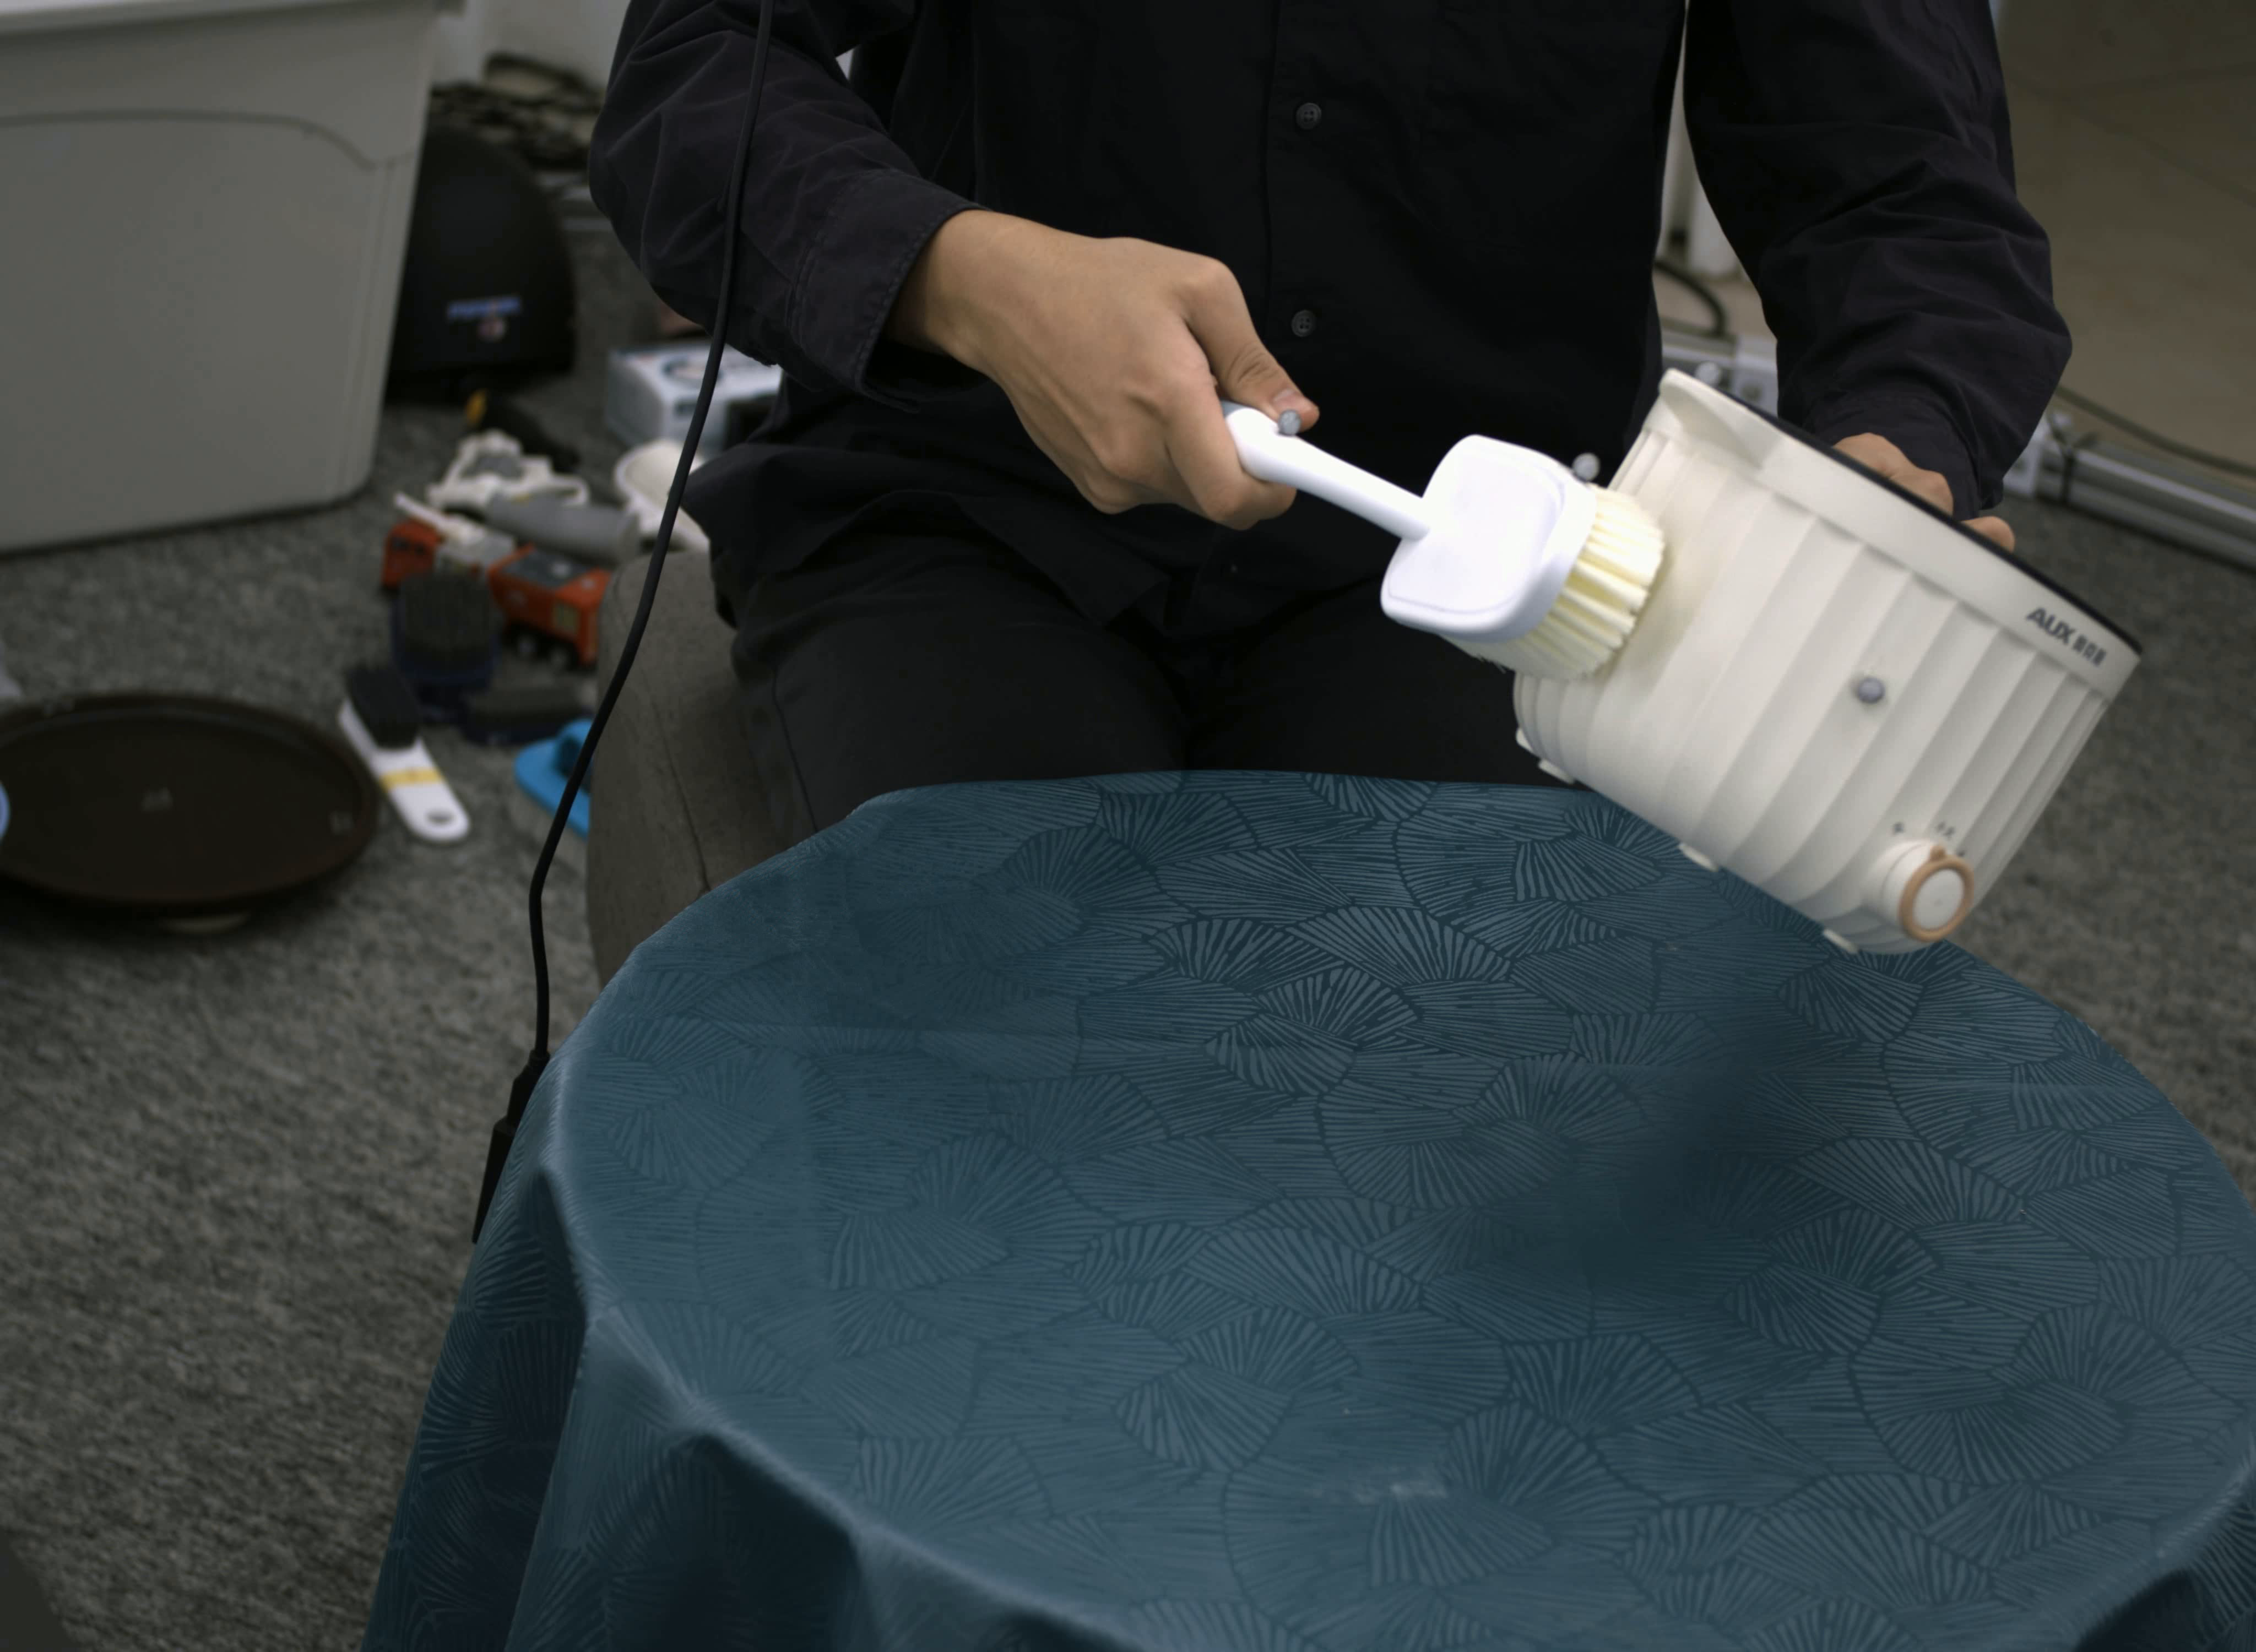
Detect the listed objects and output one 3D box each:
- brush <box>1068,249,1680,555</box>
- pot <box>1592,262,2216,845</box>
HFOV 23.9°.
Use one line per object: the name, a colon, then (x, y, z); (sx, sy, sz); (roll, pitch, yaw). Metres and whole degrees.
brush: (0.093, -0.154, 1.844); (0.083, 0.084, 0.328); (-33, 28, -20)
pot: (0.257, -0.081, 1.794); (0.238, 0.143, 0.192); (27, 2, -41)
